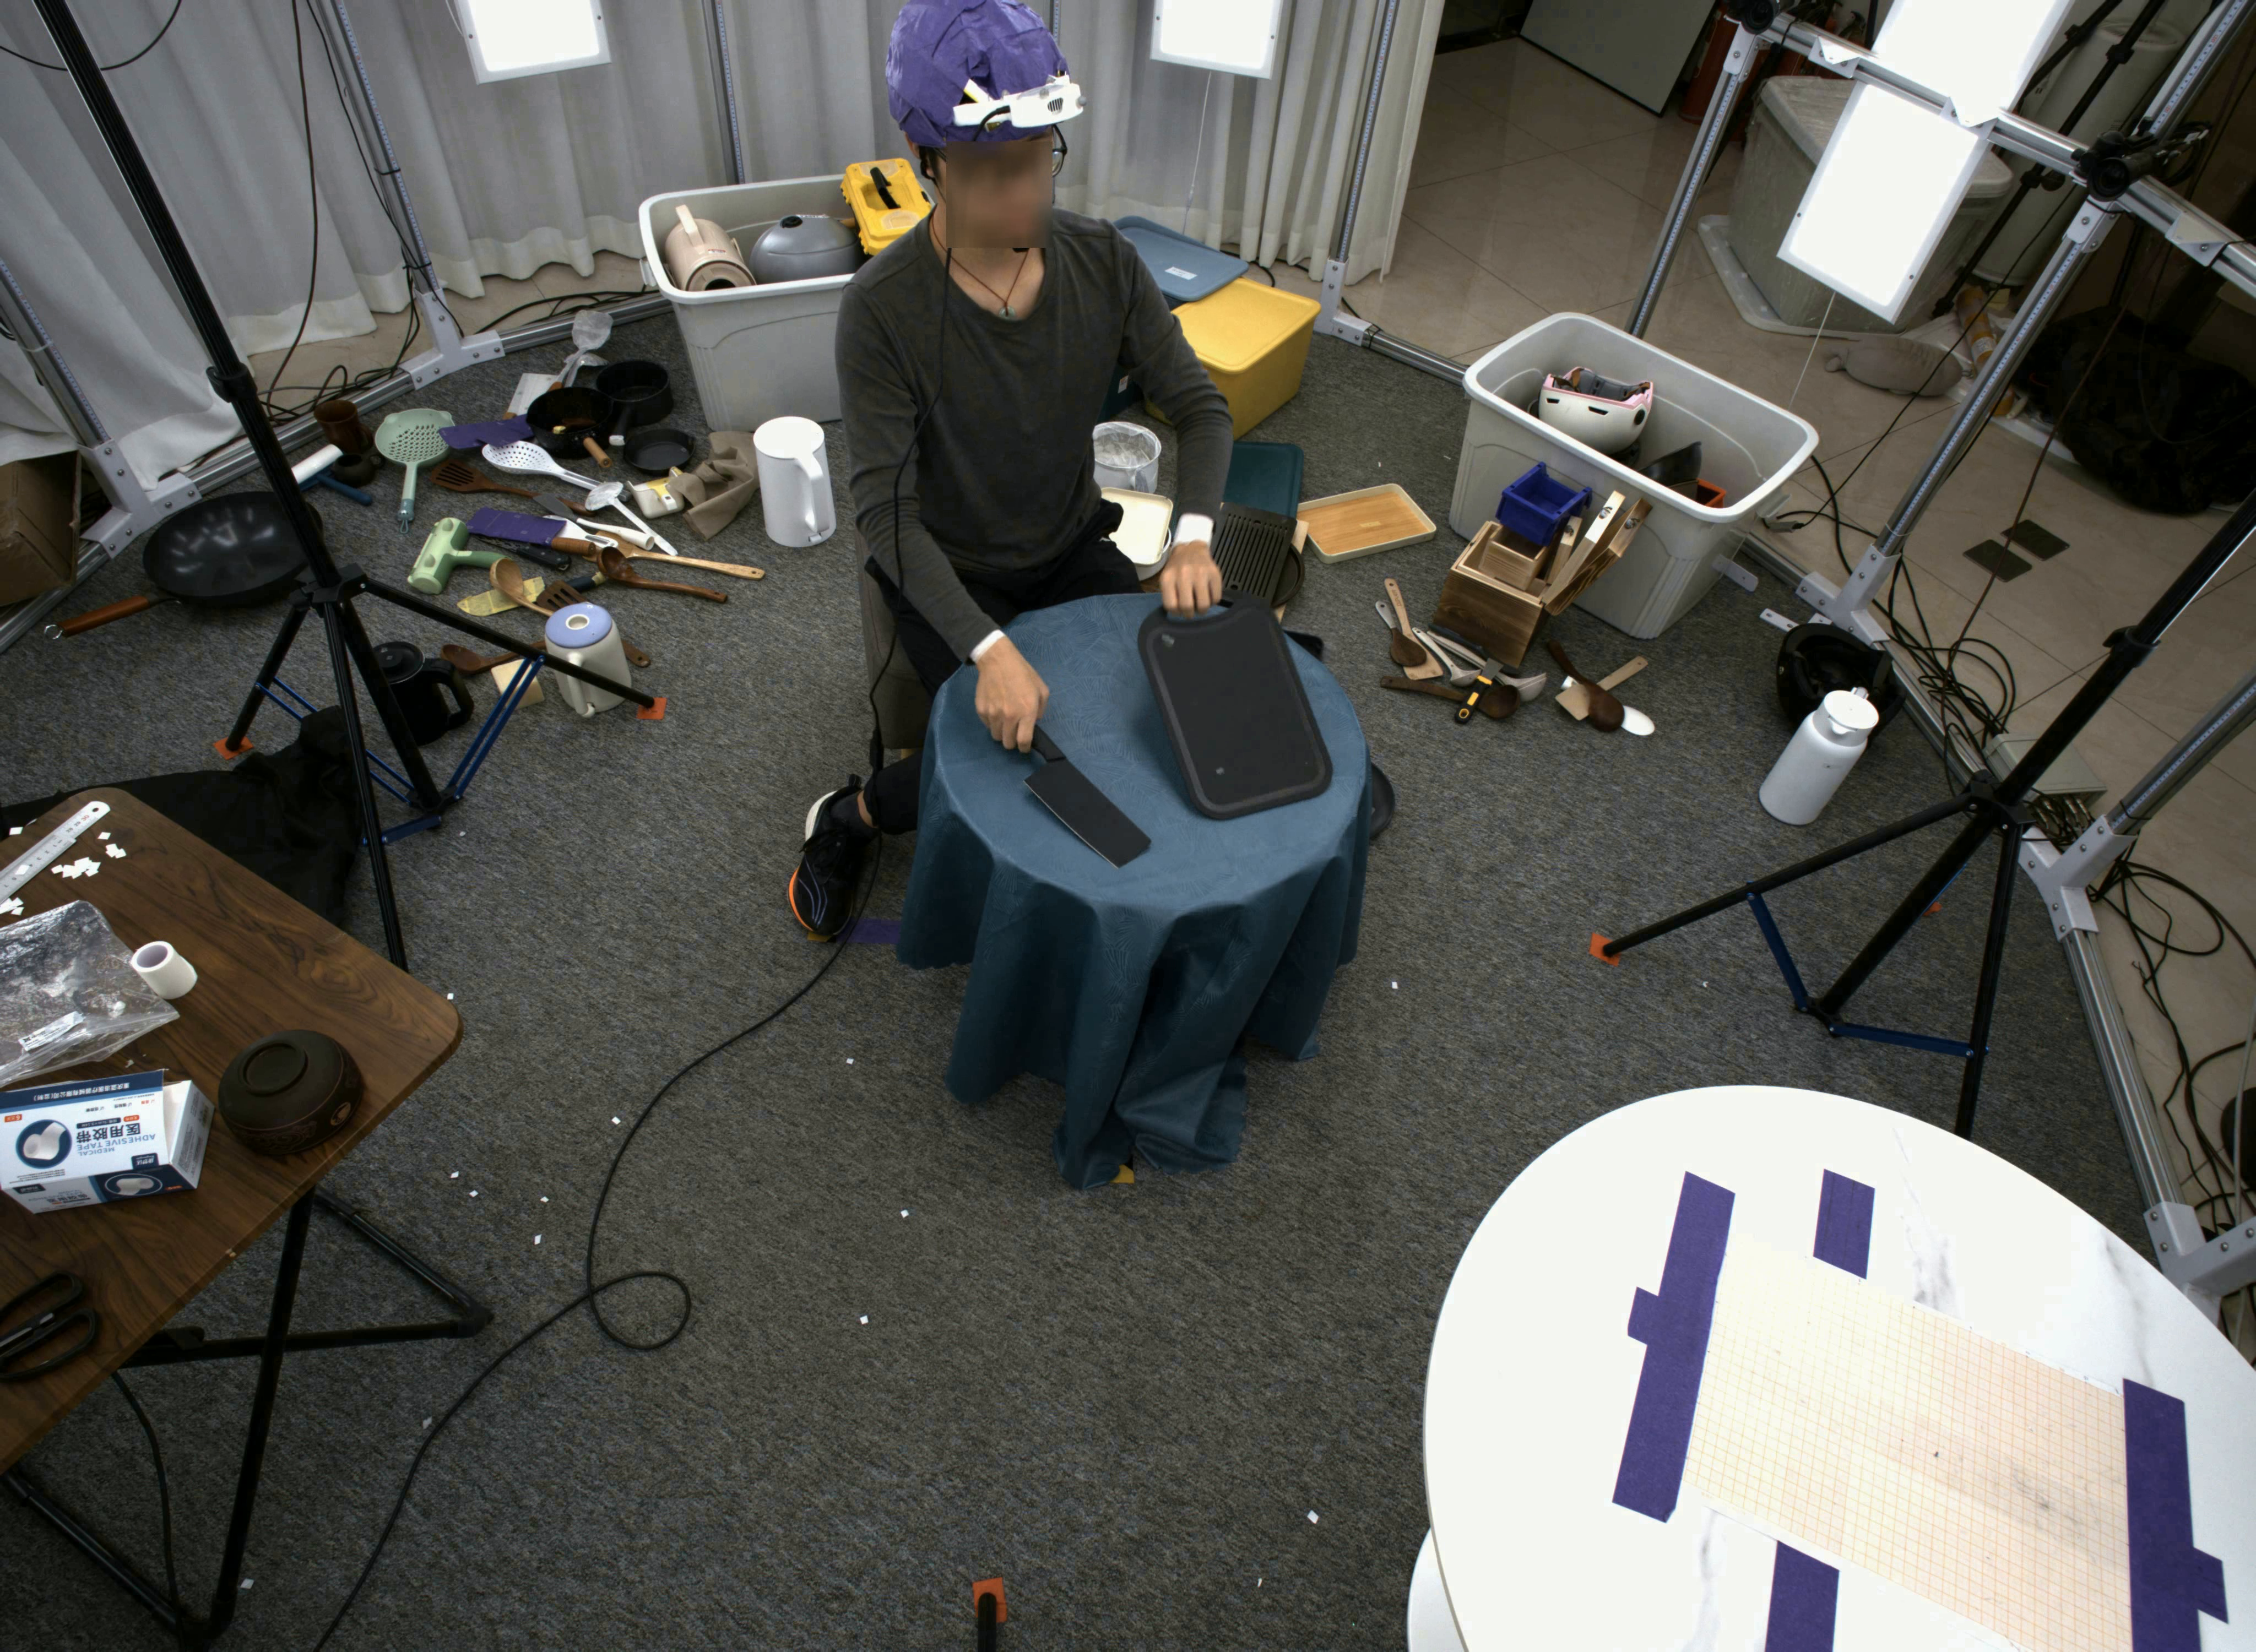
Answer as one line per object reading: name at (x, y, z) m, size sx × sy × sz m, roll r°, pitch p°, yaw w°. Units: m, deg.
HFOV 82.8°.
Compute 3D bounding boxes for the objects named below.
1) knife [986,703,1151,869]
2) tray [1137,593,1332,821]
knife at (-0.089, -0.059, 1.687) m, size 0.081 × 0.020 × 0.307 m, roll -32°, pitch 64°, yaw -22°
tray at (0.141, -0.170, 1.742) m, size 0.211 × 0.009 × 0.330 m, roll -14°, pitch 73°, yaw -16°
